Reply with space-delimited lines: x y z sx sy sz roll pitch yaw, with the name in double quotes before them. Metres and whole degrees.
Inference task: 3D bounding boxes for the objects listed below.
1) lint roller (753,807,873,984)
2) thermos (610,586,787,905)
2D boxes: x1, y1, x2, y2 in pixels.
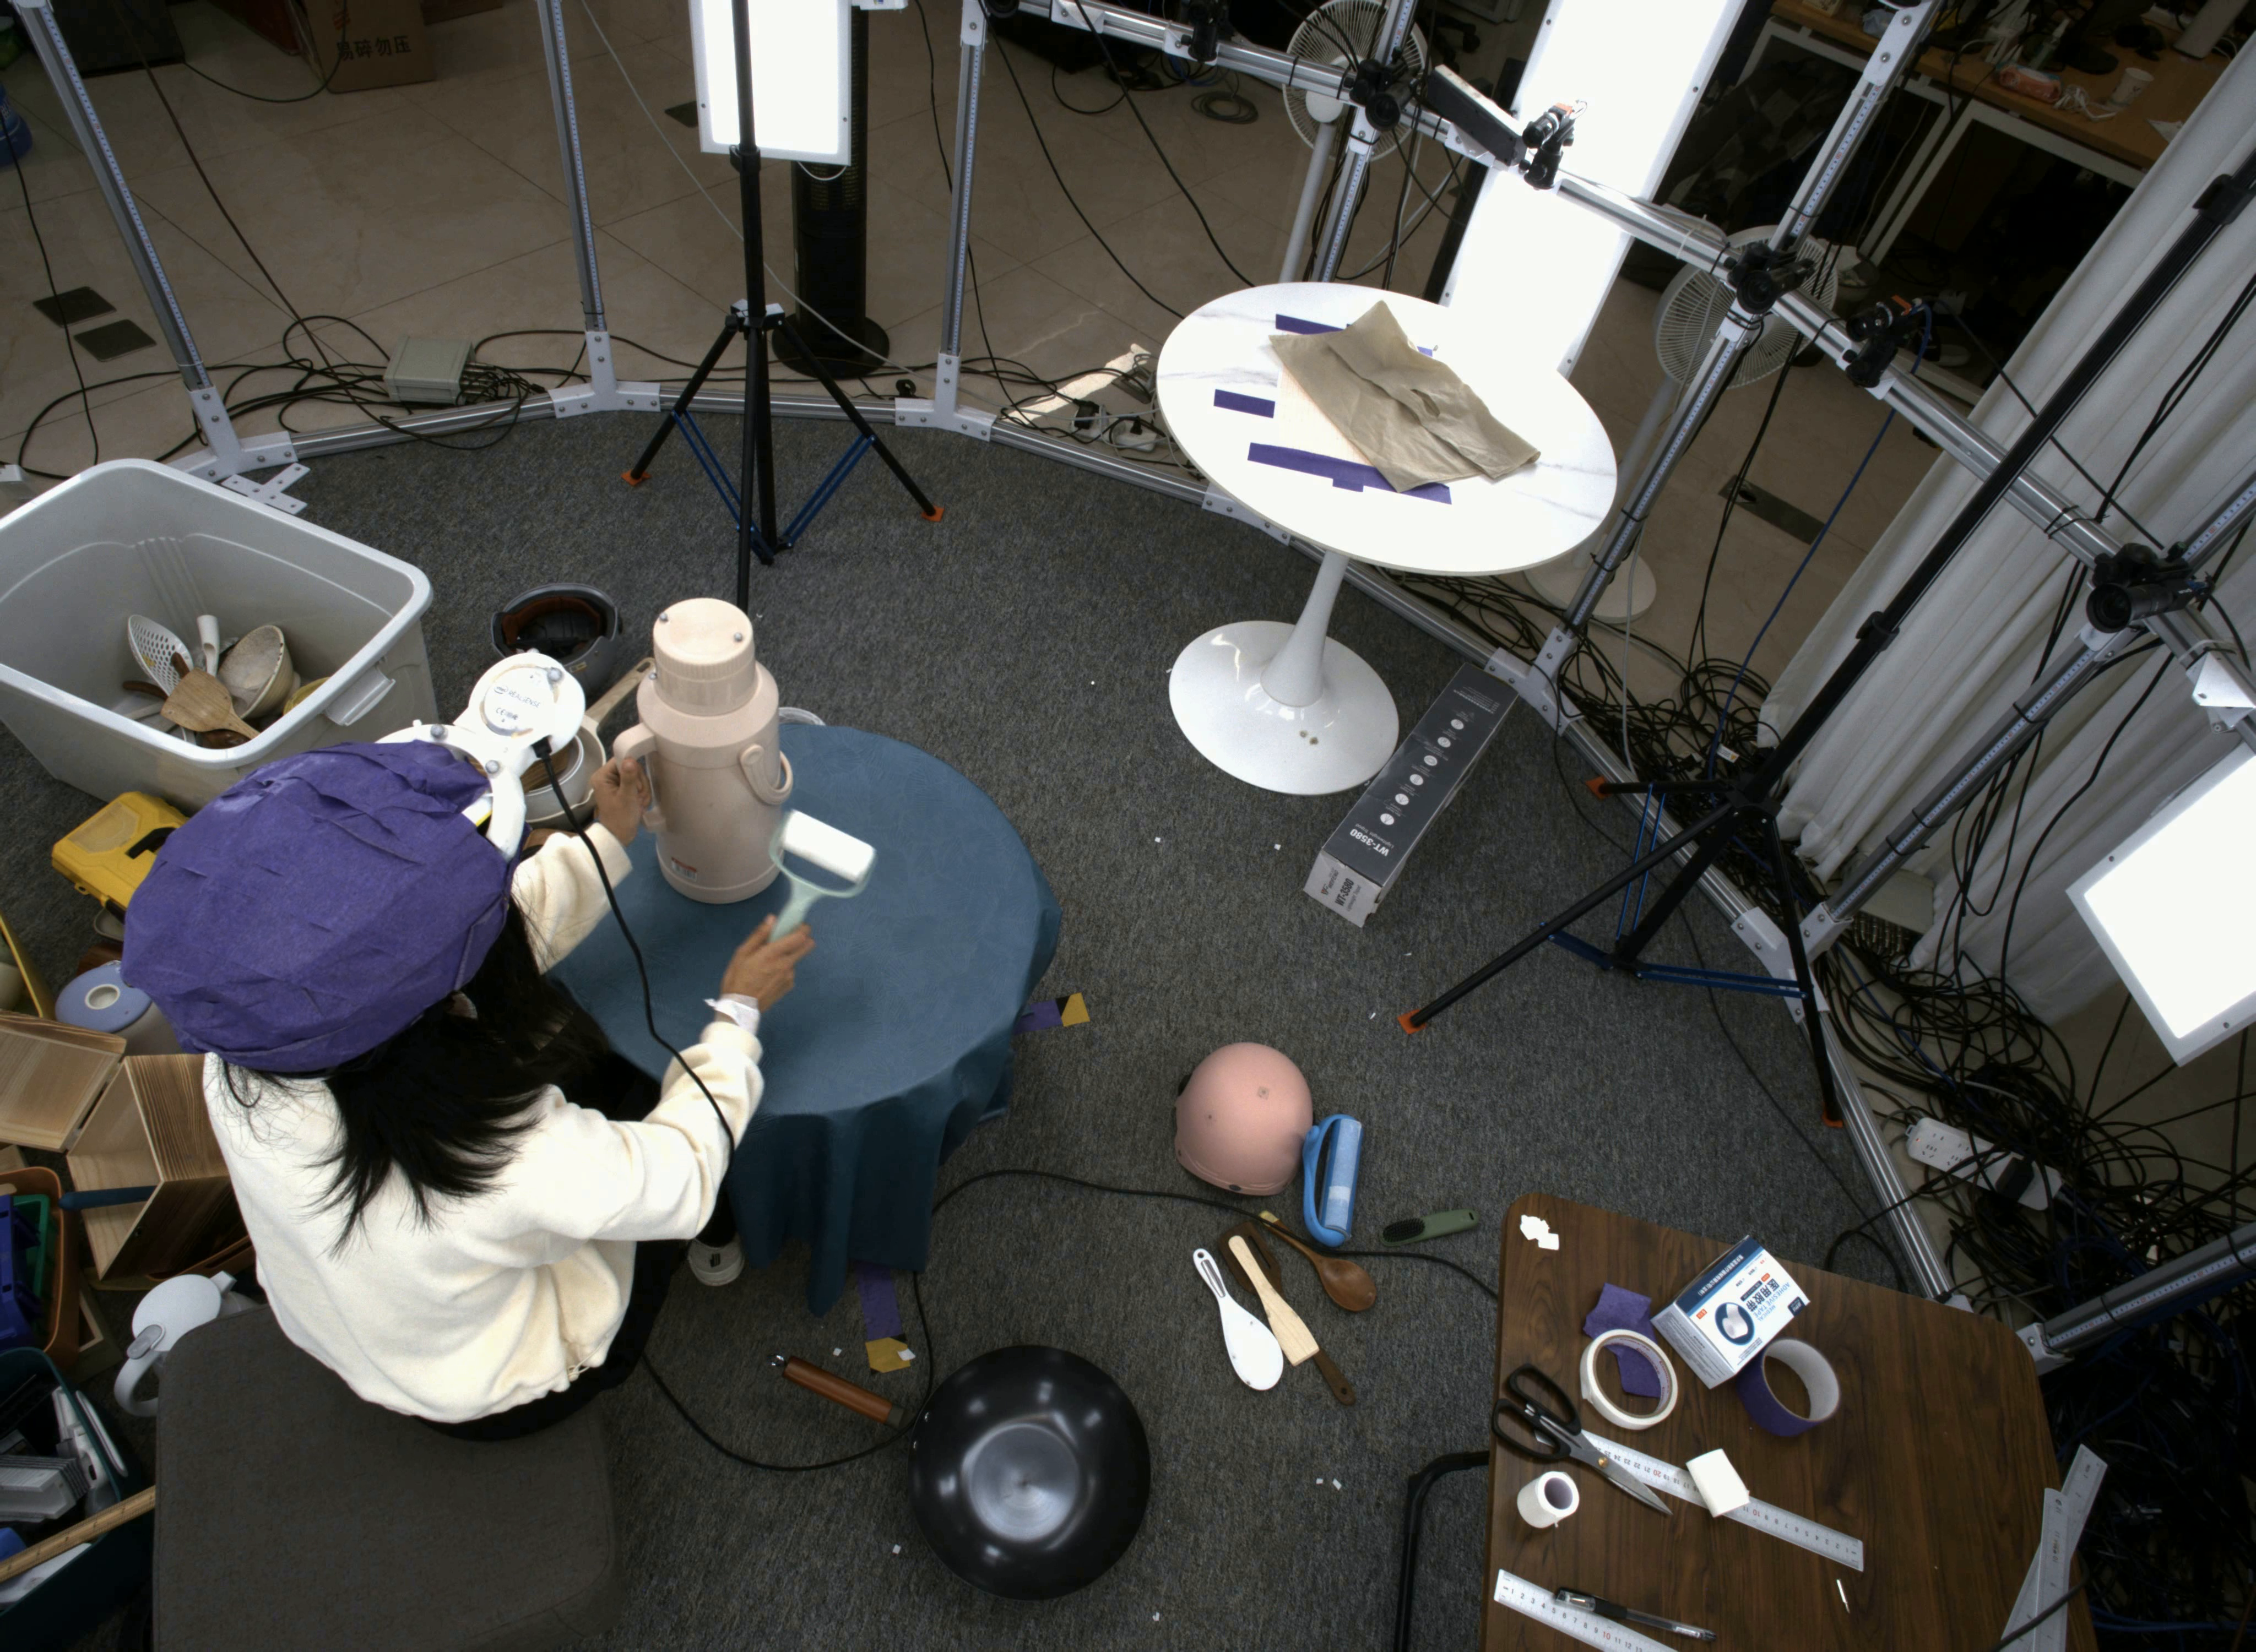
"lint roller" -0.383 0.086 1.486 0.118 0.047 0.198 28 81 -20
"thermos" -0.502 -0.085 1.503 0.171 0.415 0.207 41 55 20
